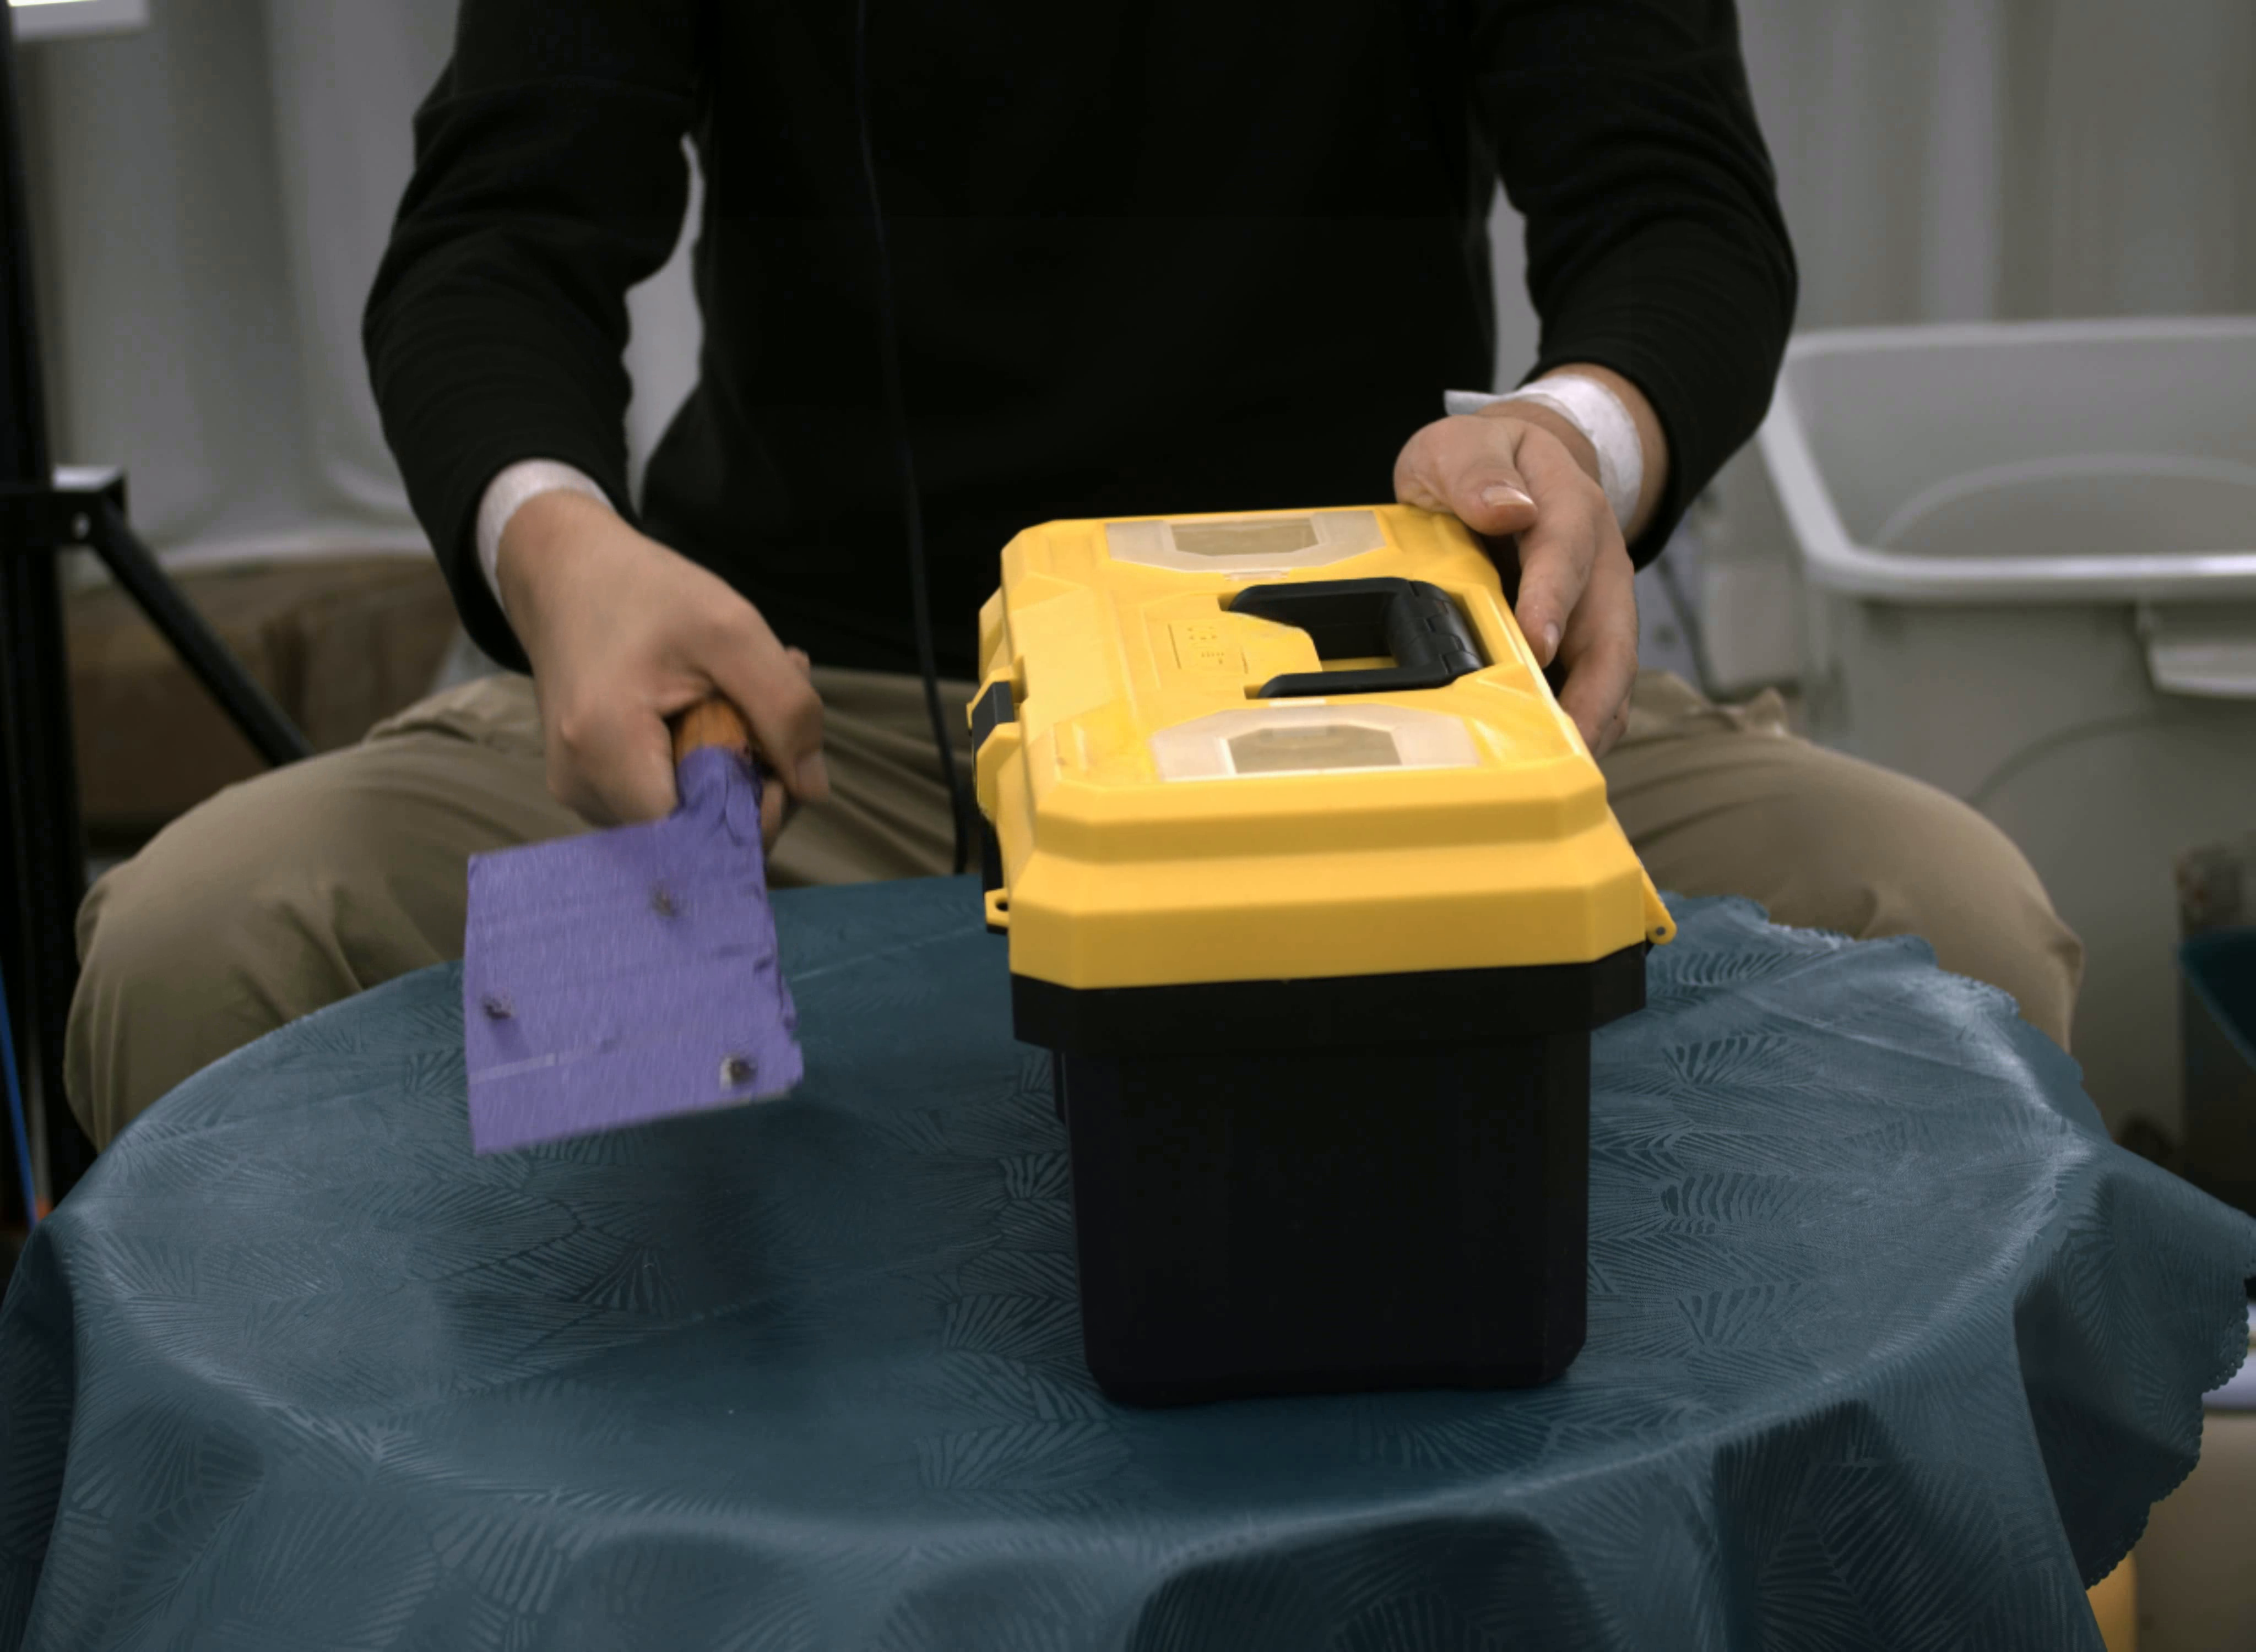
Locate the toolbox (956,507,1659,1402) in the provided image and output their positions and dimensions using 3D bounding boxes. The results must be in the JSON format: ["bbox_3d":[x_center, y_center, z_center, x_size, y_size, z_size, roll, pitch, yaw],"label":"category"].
[{"bbox_3d":[0.044,0.027,1.518,0.180,0.173,0.353,-2,15,-2],"label":"toolbox"}]

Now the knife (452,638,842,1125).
[{"bbox_3d":[-0.148,0.012,1.570,0.103,0.032,0.318,-11,21,-4],"label":"knife"}]
